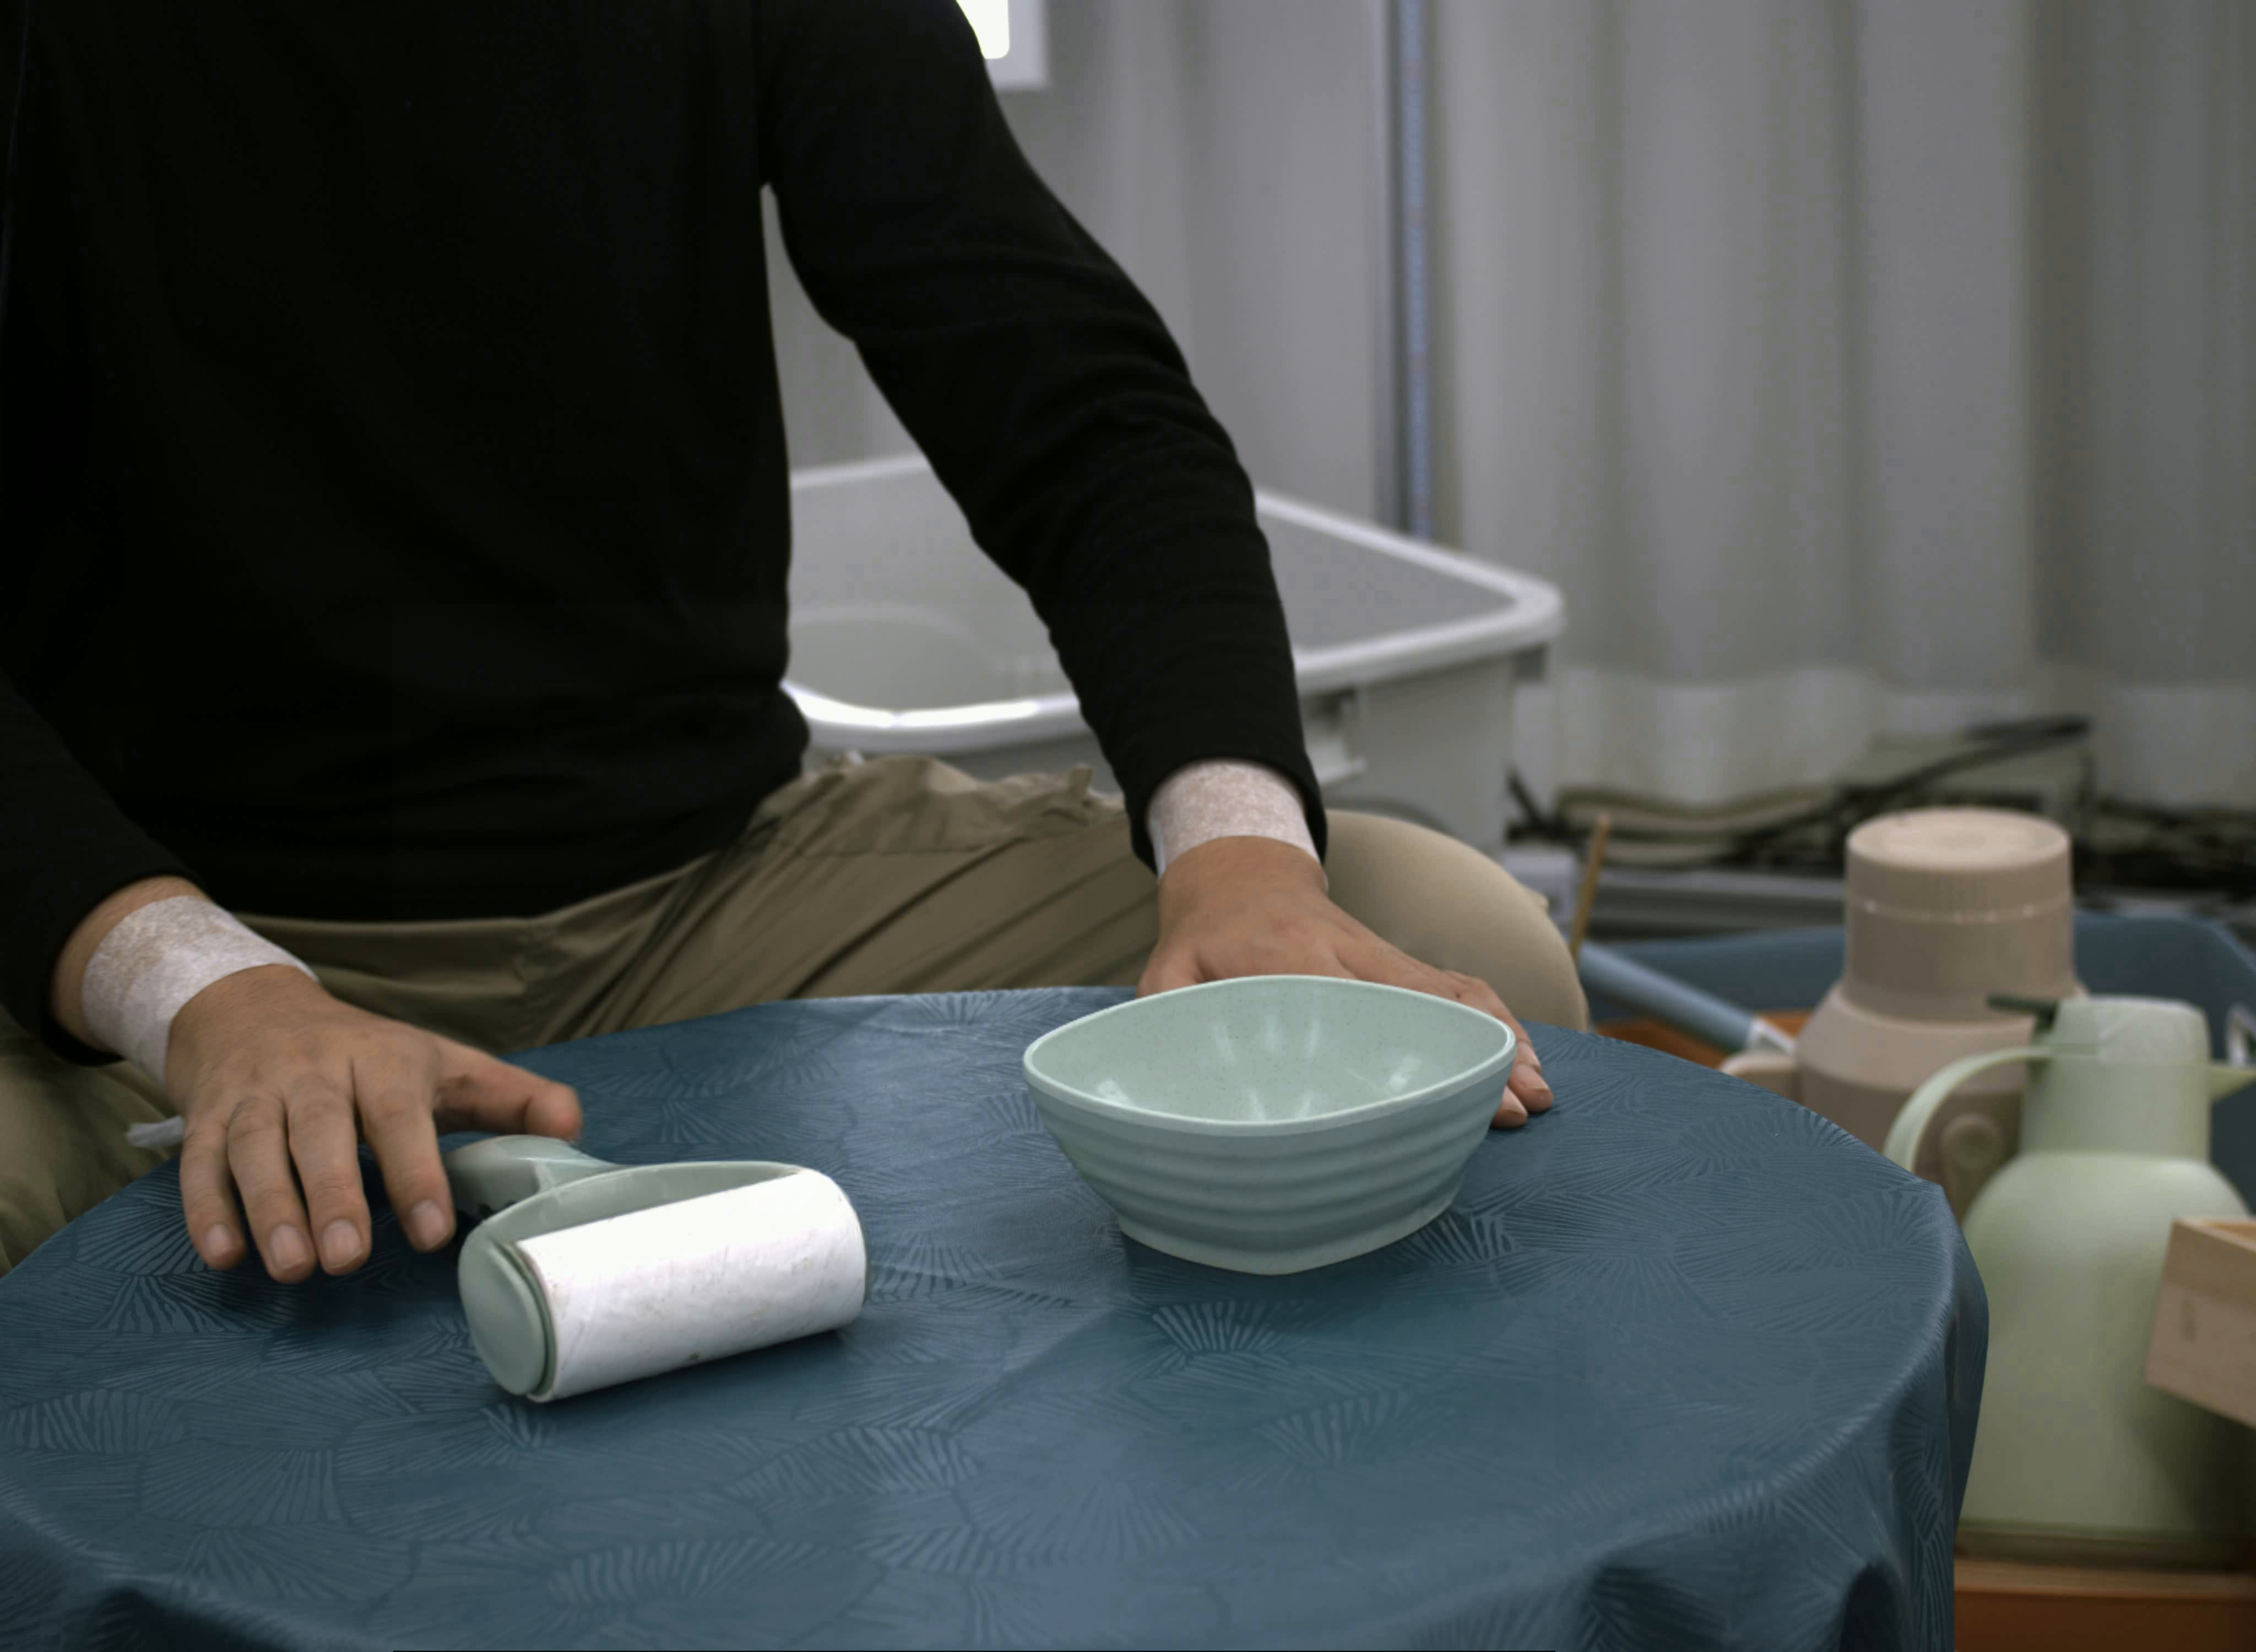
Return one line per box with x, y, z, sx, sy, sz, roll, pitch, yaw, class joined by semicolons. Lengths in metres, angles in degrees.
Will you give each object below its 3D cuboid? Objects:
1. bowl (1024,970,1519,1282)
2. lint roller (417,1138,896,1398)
0.045;0.095;1.672;0.151;0.058;0.152;-3;16;0;bowl
-0.162;0.119;1.645;0.116;0.048;0.199;-14;17;-30;lint roller
